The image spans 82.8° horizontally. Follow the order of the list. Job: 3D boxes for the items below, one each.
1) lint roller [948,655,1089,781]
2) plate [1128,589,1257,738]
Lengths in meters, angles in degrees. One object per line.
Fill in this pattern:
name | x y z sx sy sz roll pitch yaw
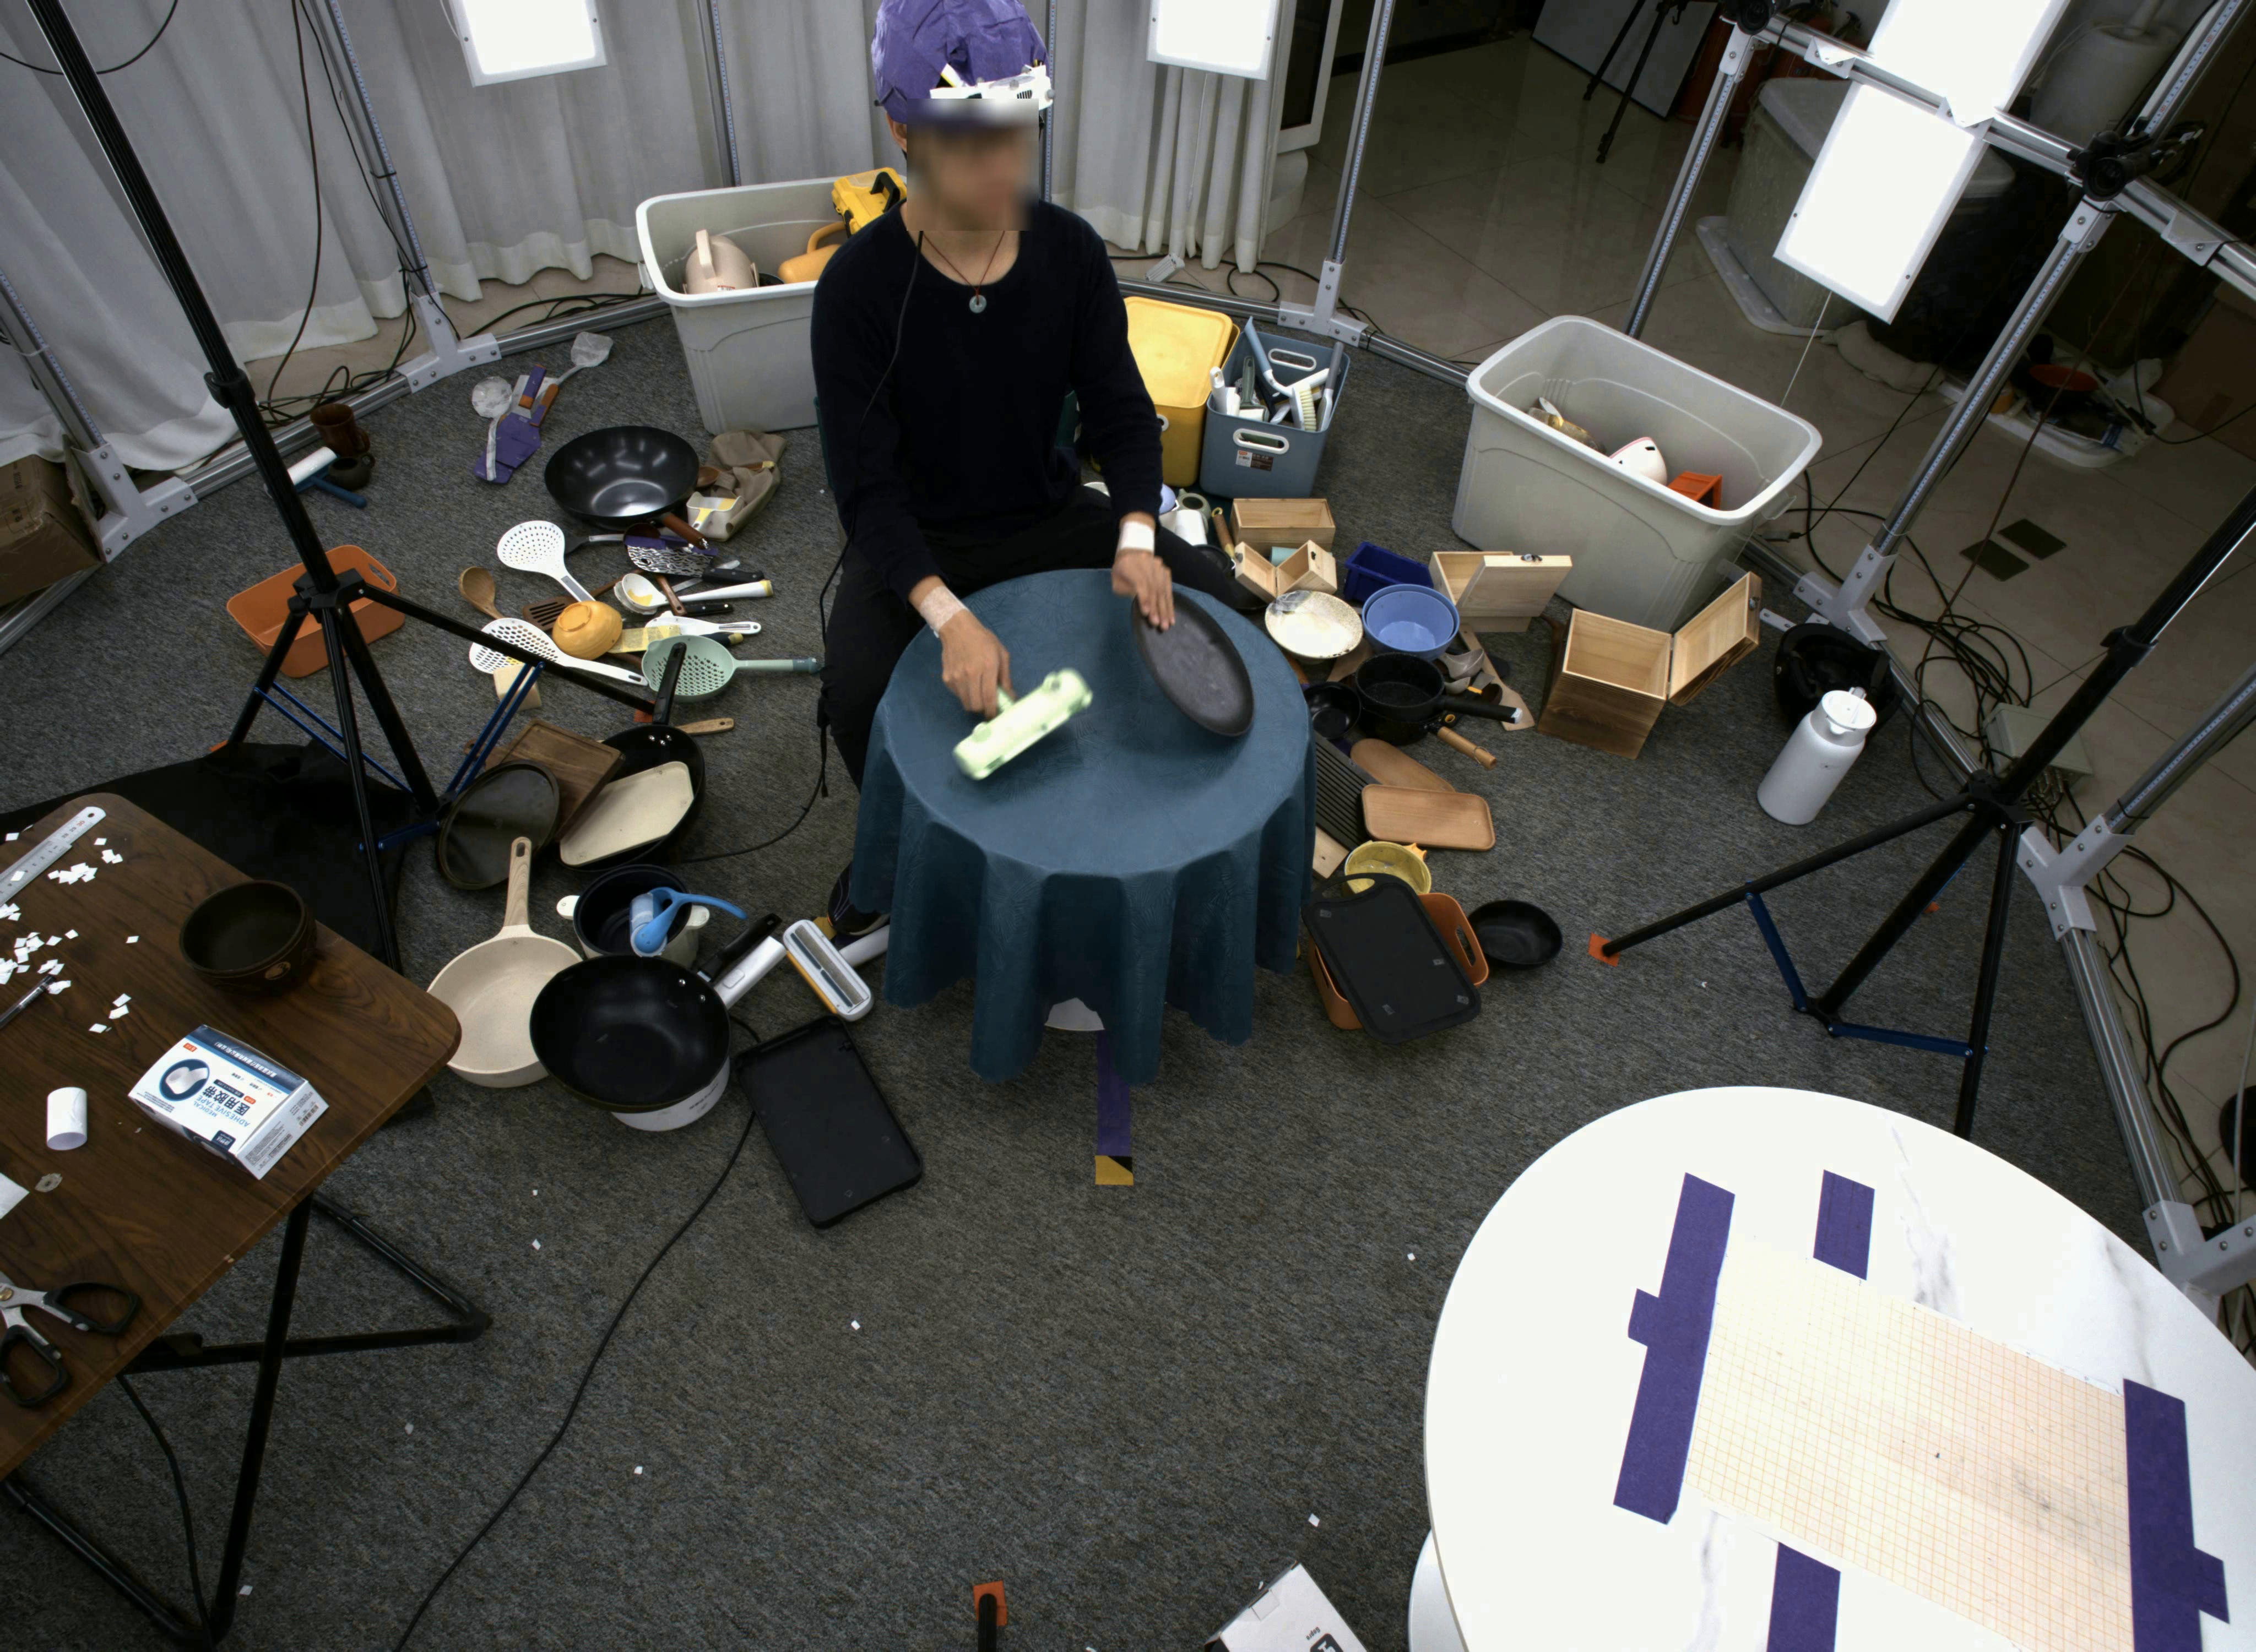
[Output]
lint roller | -0.181 -0.176 1.720 0.200 0.081 0.185 -35 73 -18
plate | 0.087 -0.222 1.778 0.241 0.023 0.250 28 42 -30
